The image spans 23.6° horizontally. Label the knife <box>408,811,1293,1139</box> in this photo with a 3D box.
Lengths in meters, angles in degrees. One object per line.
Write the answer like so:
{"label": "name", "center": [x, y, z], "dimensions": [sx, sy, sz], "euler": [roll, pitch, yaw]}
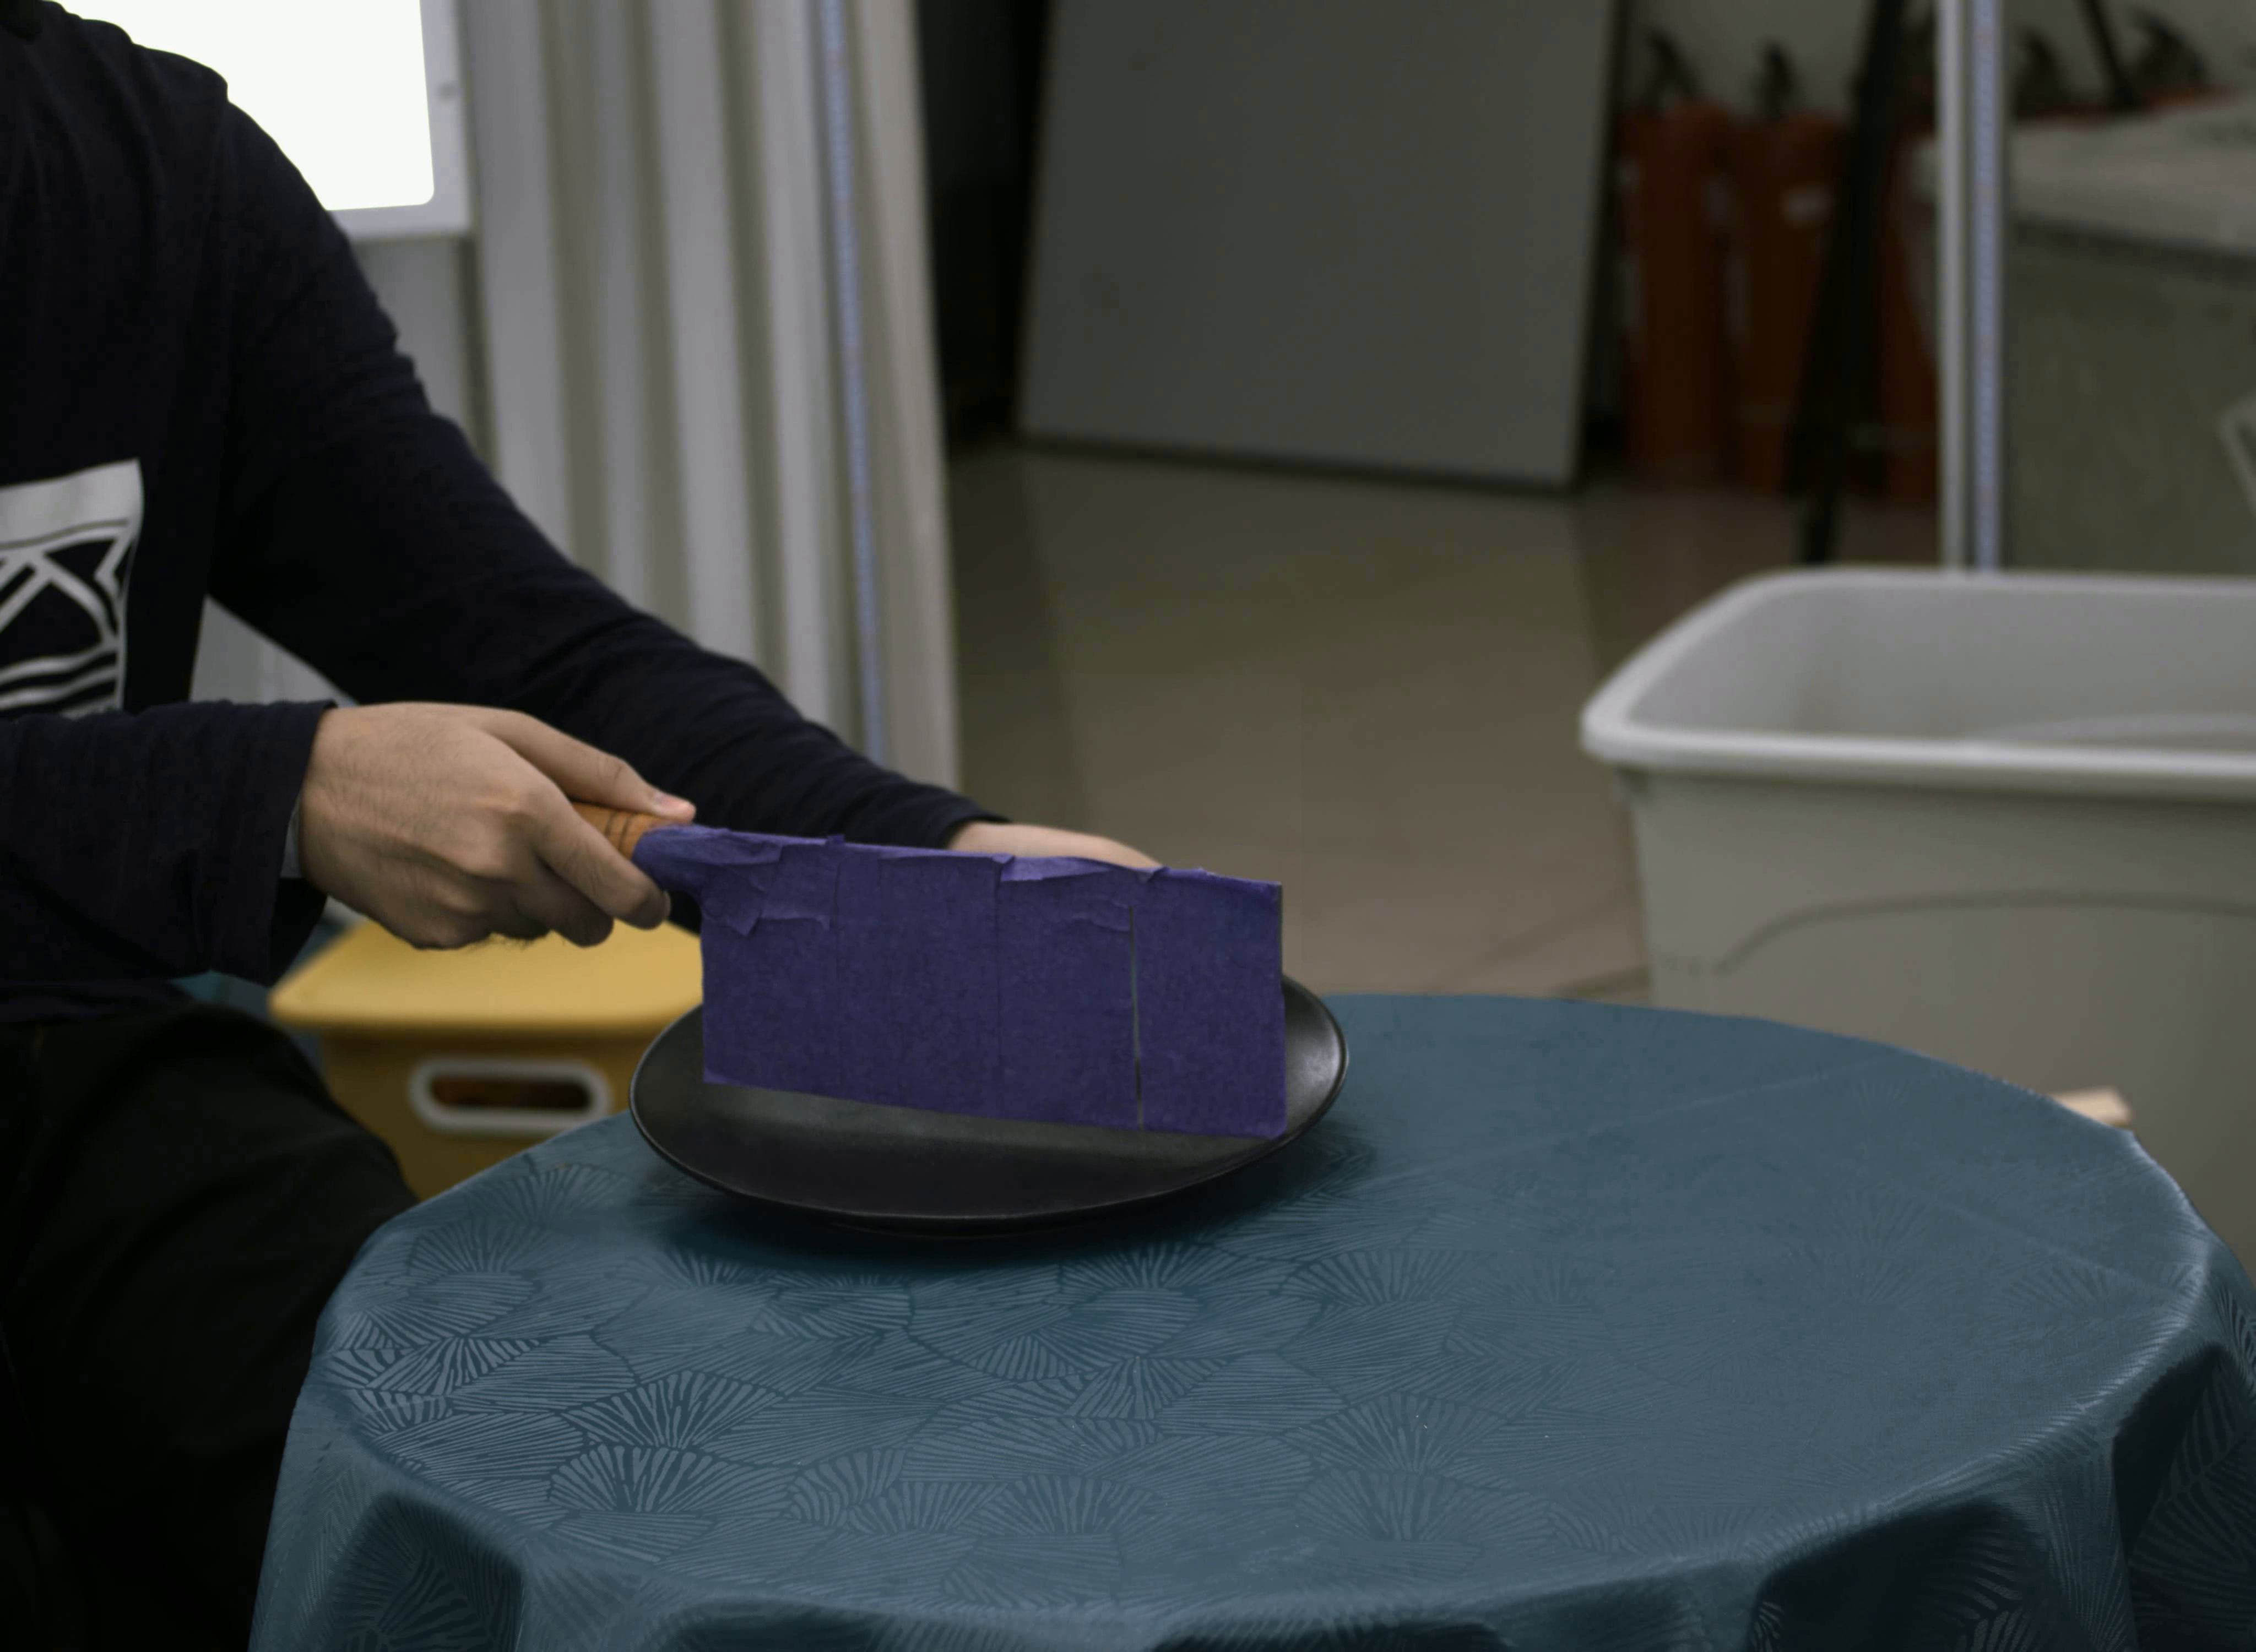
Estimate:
{"label": "knife", "center": [-0.094, 0.048, 1.789], "dimensions": [0.315, 0.105, 0.032], "euler": [4, 12, 23]}

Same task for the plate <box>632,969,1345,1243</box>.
{"label": "plate", "center": [-0.046, 0.091, 1.818], "dimensions": [0.241, 0.023, 0.245], "euler": [-5, 21, 1]}
